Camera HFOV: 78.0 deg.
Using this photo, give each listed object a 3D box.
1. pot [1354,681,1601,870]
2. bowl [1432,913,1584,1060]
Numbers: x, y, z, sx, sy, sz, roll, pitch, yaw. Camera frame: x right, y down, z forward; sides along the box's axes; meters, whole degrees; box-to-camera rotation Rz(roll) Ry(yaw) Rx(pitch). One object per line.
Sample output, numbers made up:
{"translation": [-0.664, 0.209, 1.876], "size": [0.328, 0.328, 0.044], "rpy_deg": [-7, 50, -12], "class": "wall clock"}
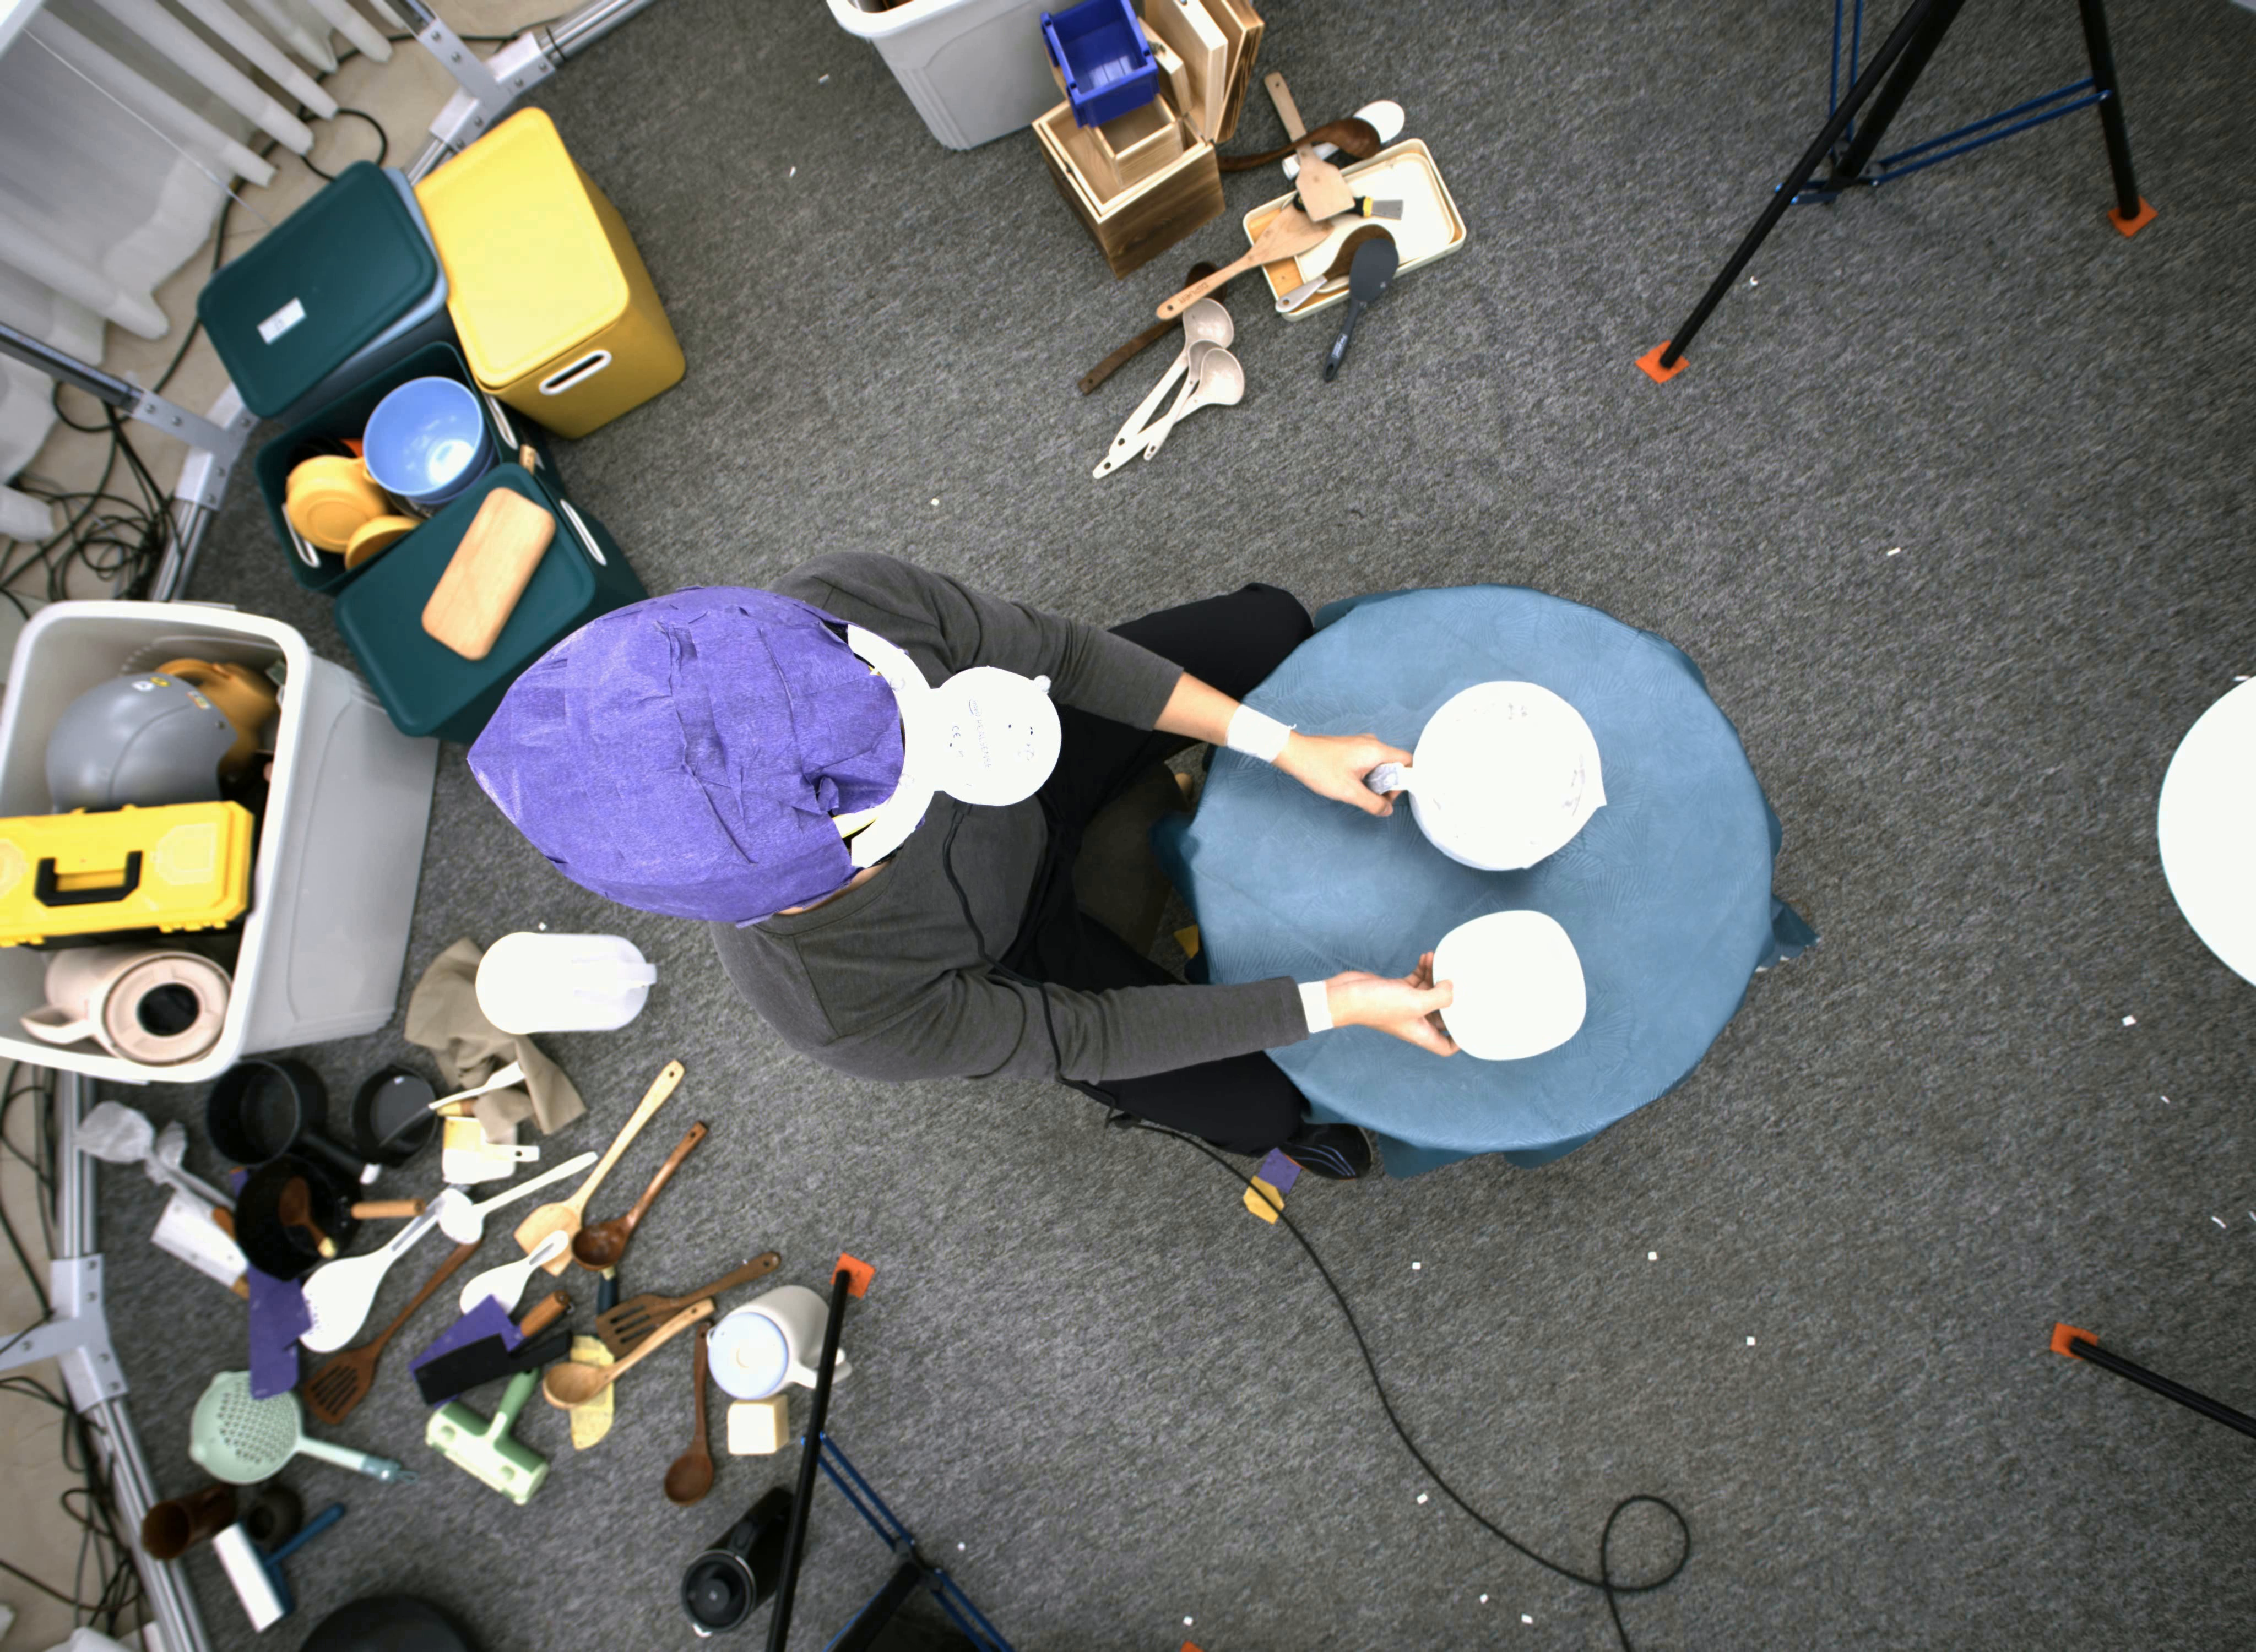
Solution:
{"translation": [0.346, -0.047, 1.384], "size": [0.234, 0.136, 0.178], "rpy_deg": [-2, 86, 10], "class": "pot"}
{"translation": [0.371, 0.154, 1.348], "size": [0.152, 0.058, 0.151], "rpy_deg": [-1, 86, 15], "class": "bowl"}
